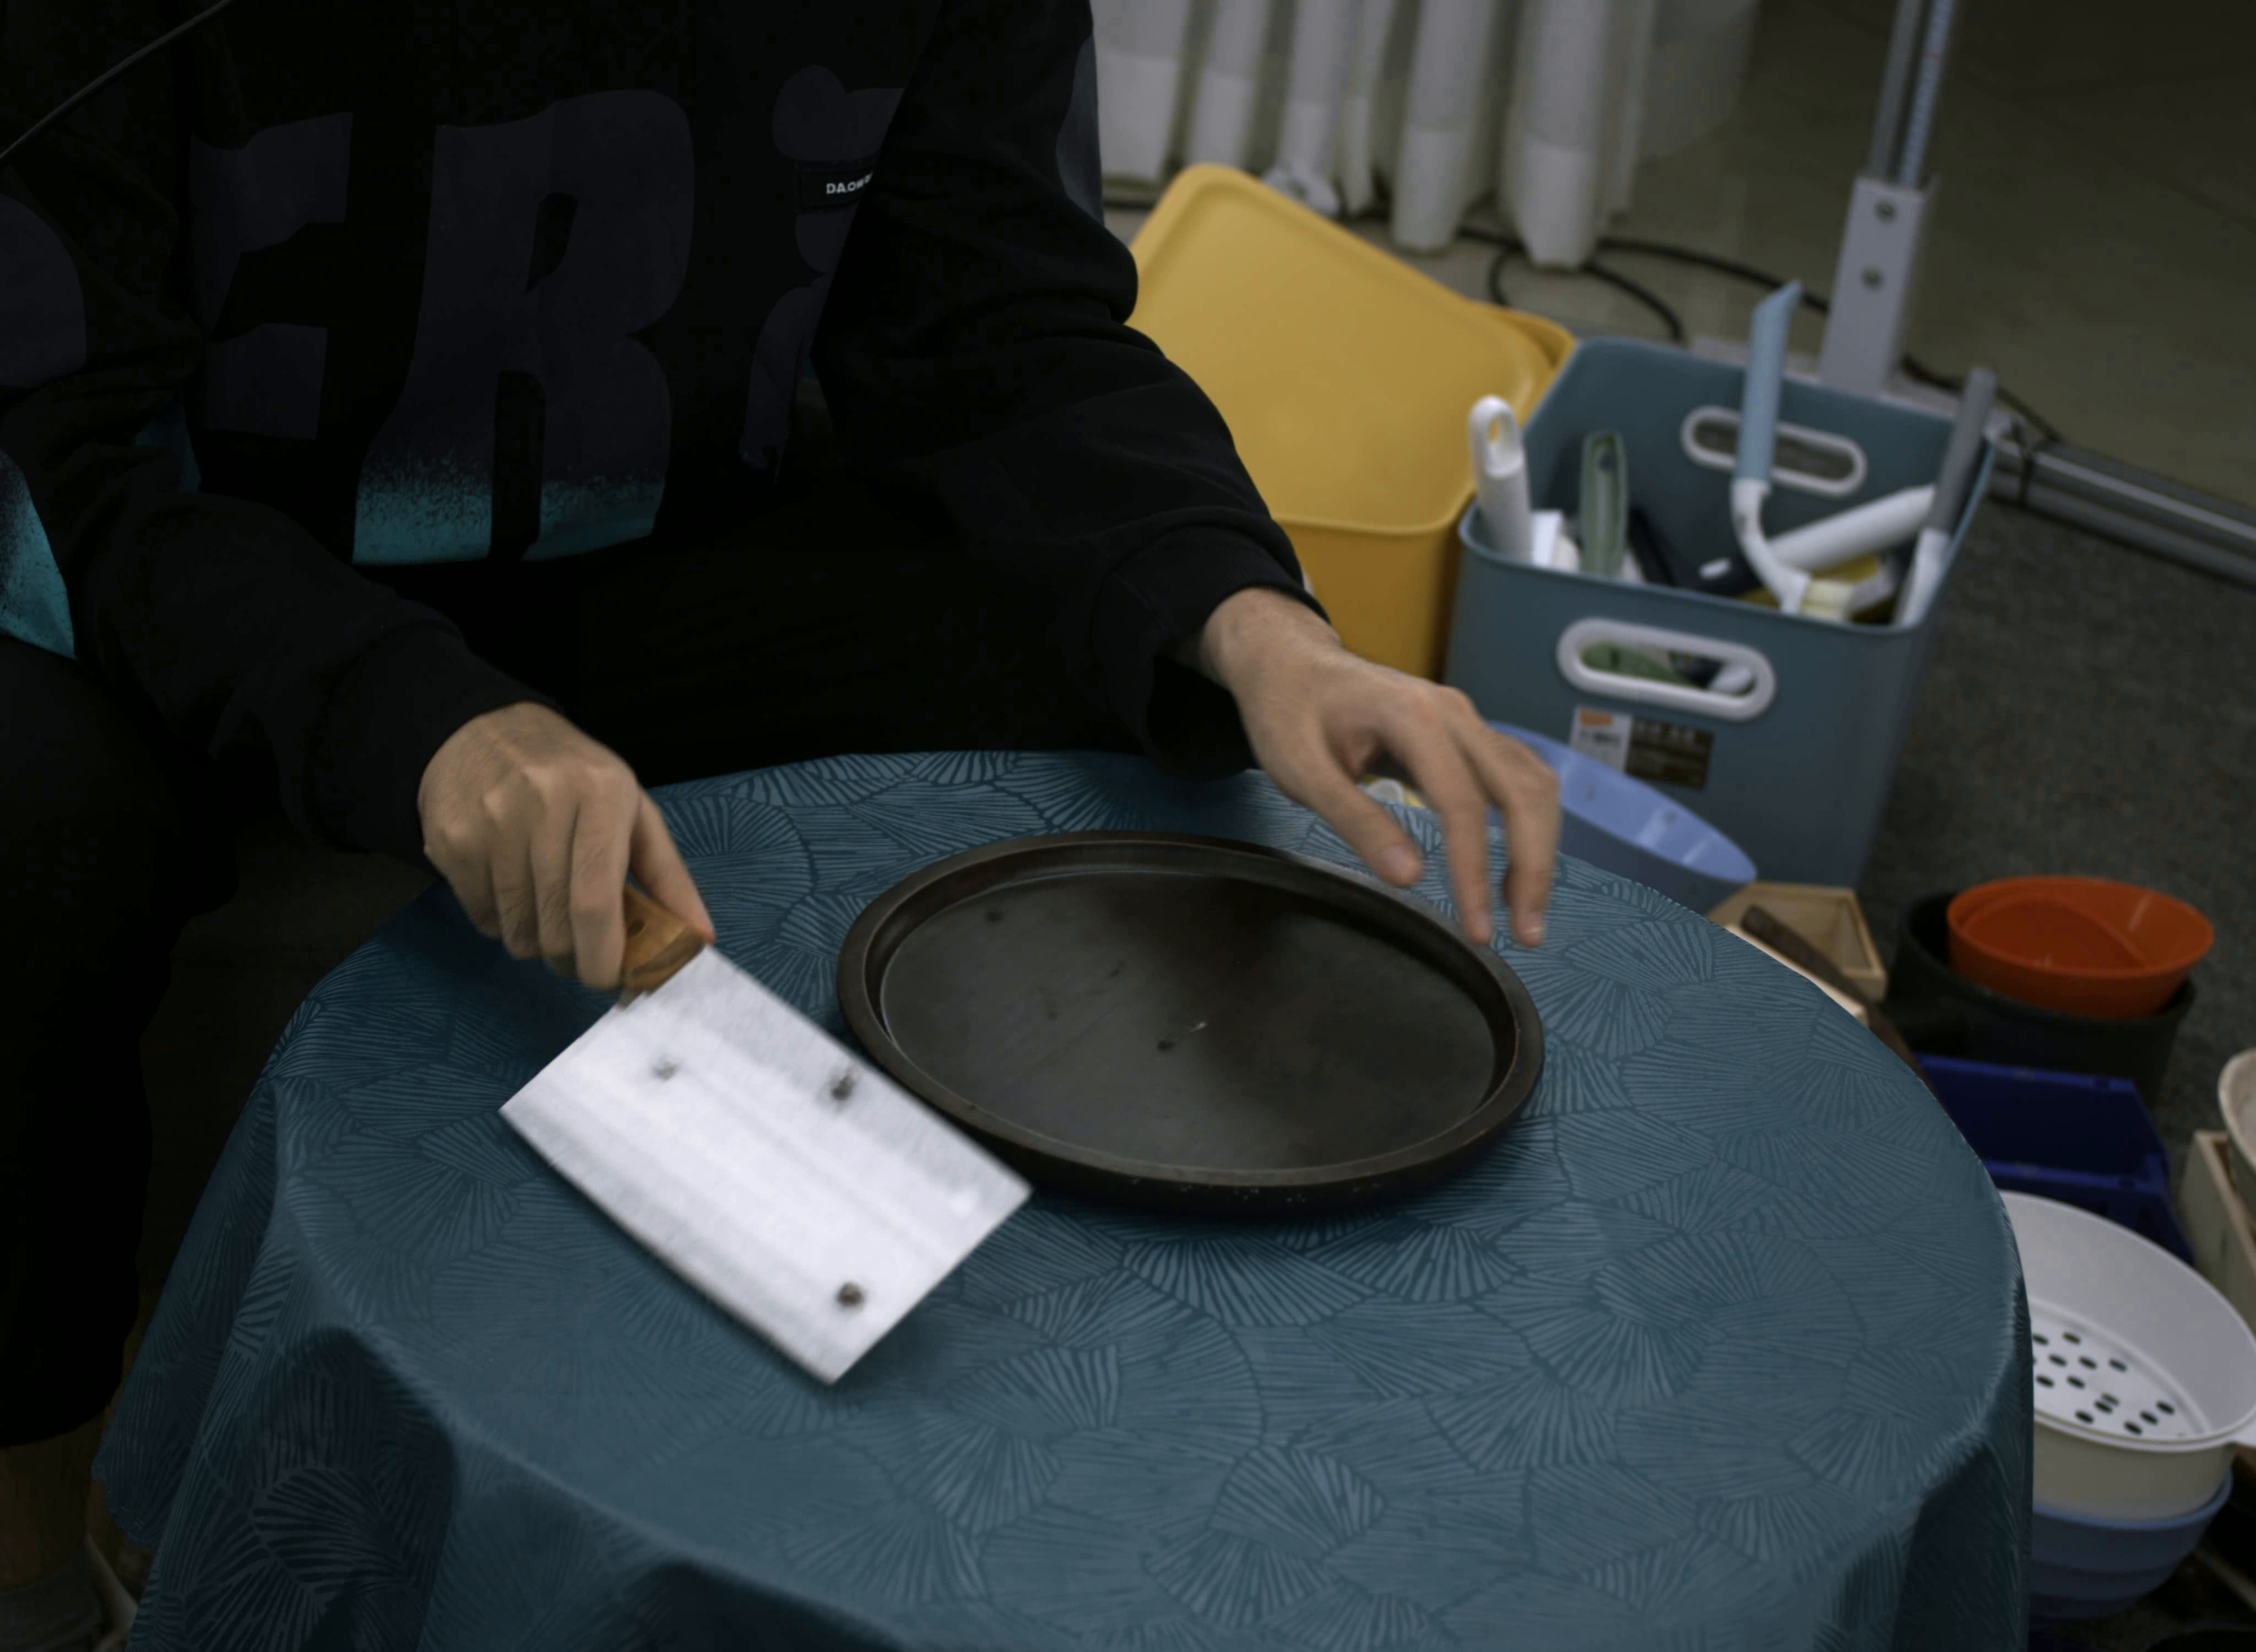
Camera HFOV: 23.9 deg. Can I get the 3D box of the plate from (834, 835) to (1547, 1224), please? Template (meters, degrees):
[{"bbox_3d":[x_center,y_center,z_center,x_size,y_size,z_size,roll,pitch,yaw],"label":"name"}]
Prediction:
[{"bbox_3d":[0.021,0.070,1.886,0.254,0.029,0.256,4,29,-3],"label":"plate"}]

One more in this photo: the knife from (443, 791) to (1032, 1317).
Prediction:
[{"bbox_3d":[-0.153,0.077,1.780,0.093,0.021,0.308,-45,46,-14],"label":"knife"}]
